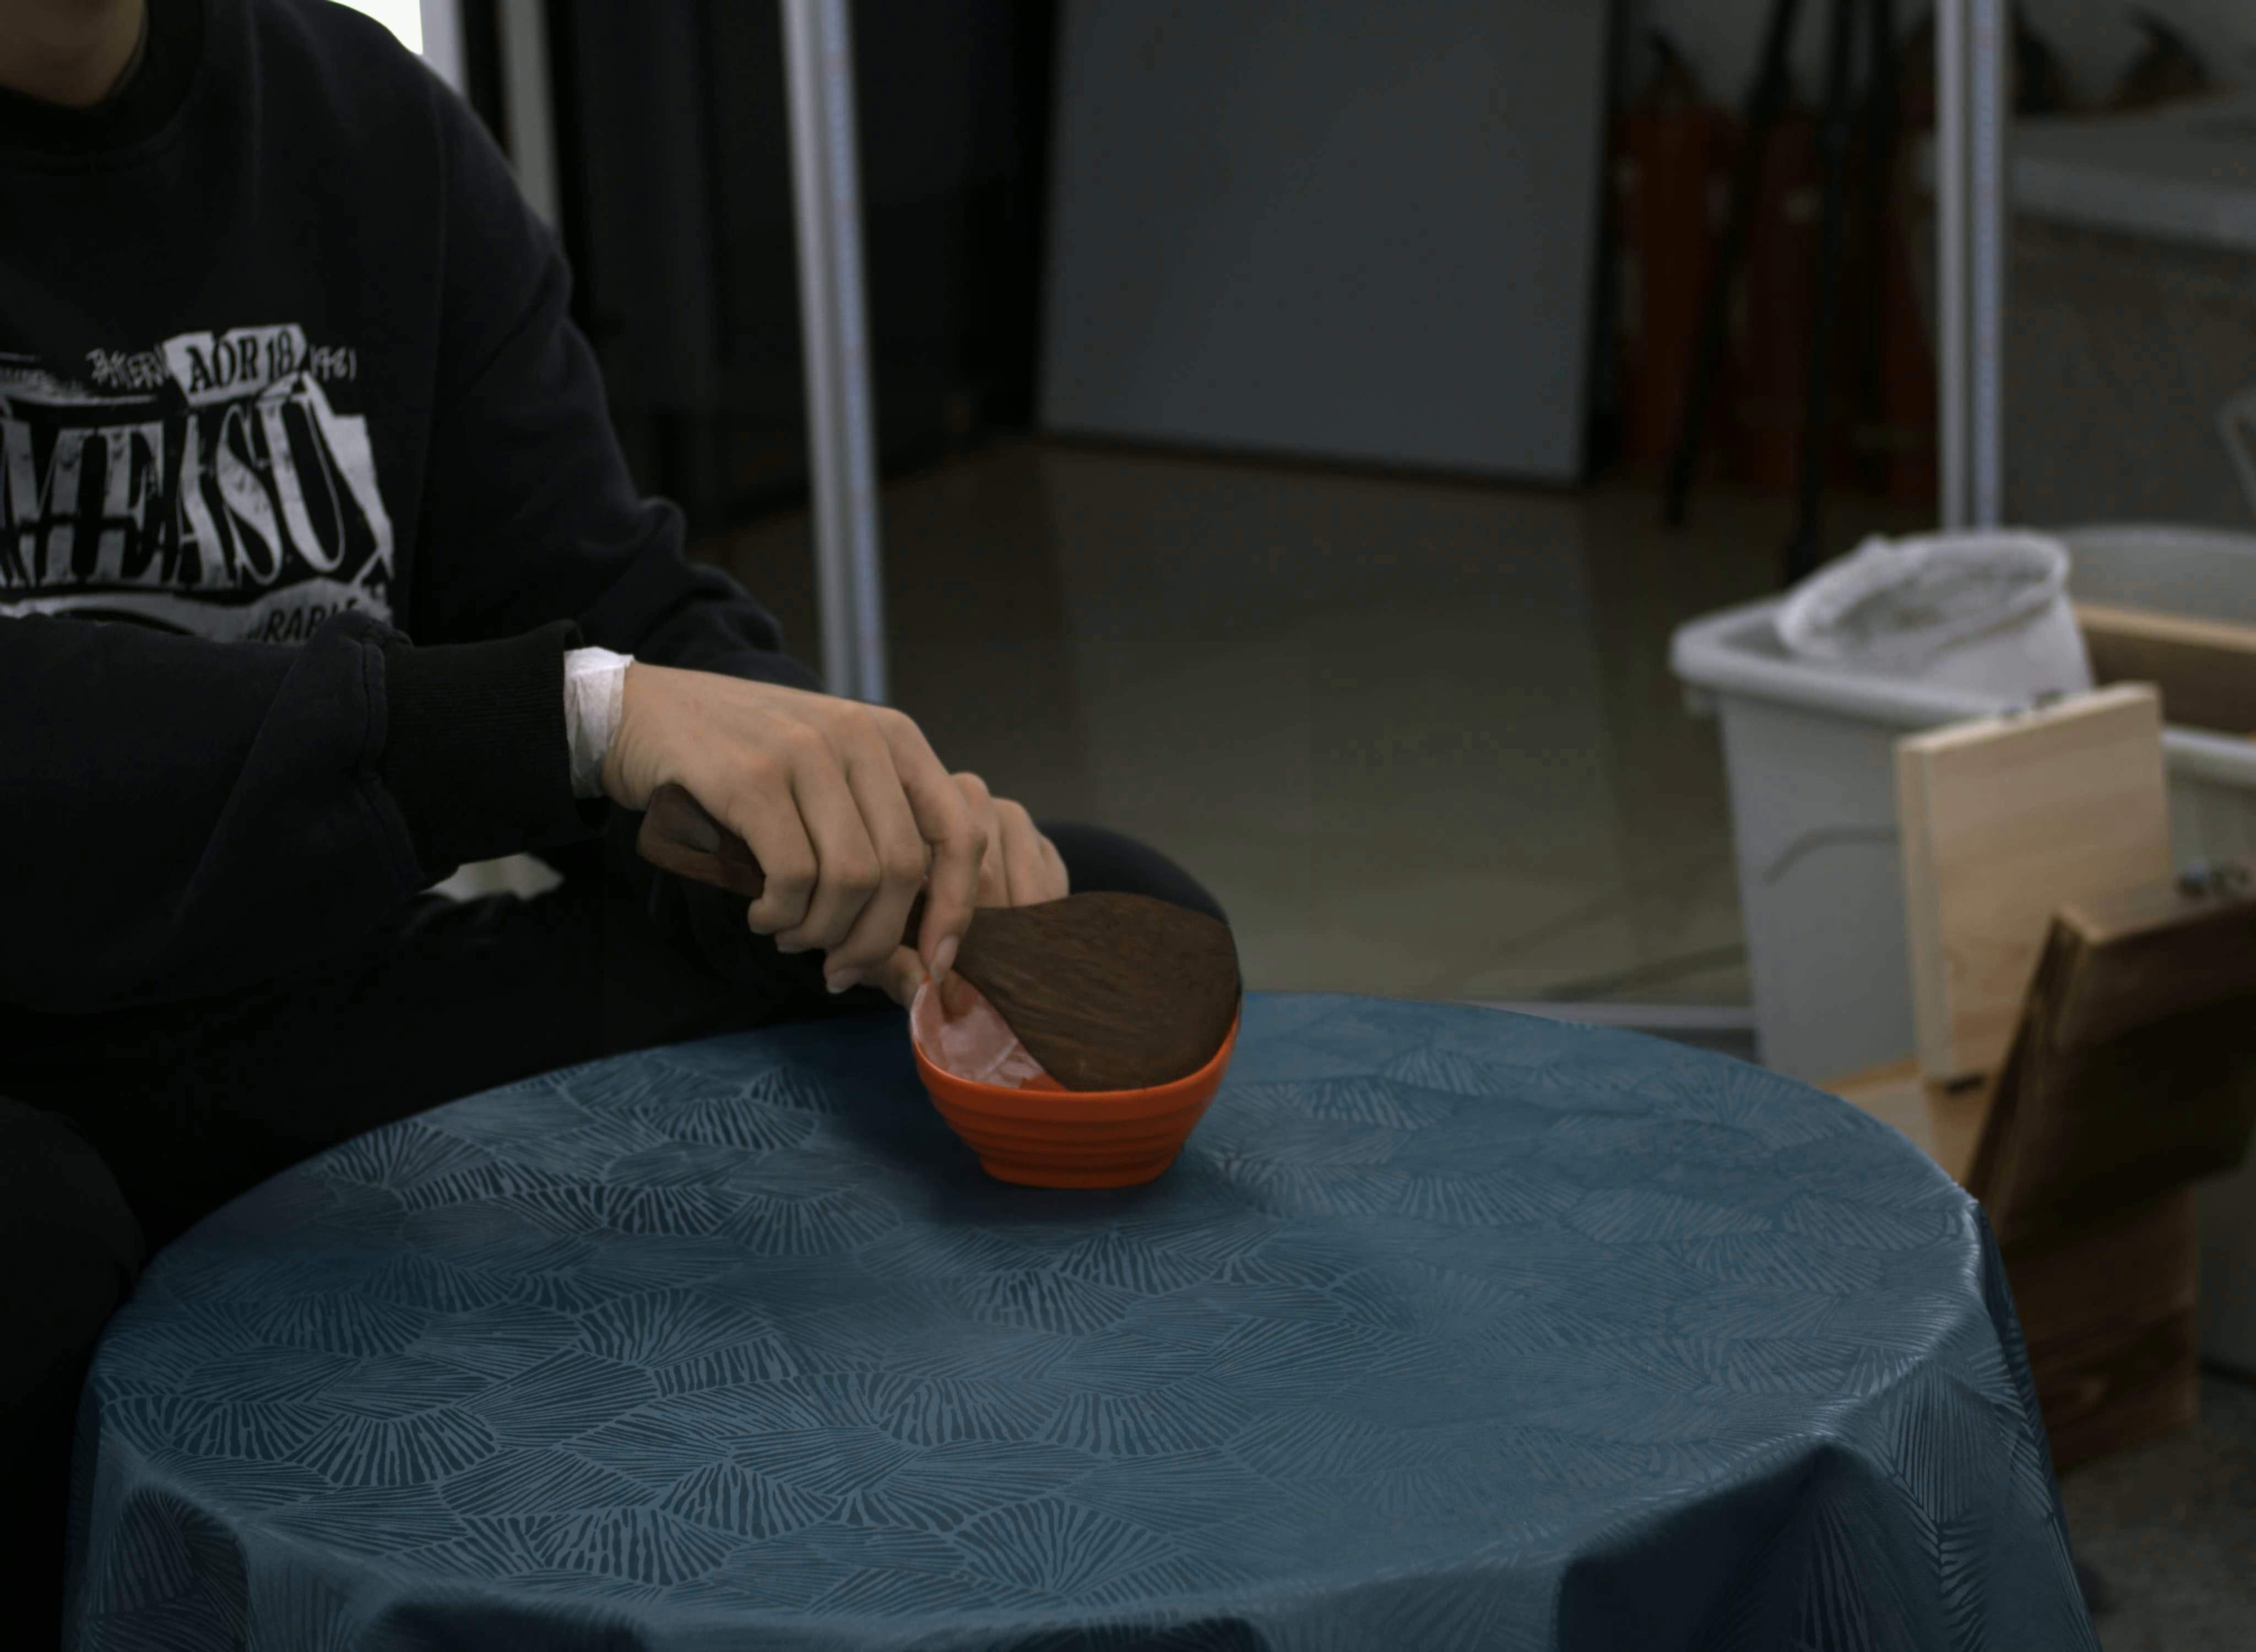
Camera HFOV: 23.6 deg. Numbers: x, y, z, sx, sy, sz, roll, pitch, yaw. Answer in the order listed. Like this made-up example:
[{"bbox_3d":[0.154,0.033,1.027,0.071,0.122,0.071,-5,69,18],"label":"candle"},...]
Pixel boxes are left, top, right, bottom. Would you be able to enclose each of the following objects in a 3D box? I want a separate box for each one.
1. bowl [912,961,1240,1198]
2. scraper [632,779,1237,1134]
[{"bbox_3d":[-0.017,0.084,1.794,0.117,0.052,0.119,-2,29,0],"label":"bowl"},{"bbox_3d":[-0.063,0.033,1.750,0.208,0.076,0.011,22,-14,-15],"label":"scraper"}]
